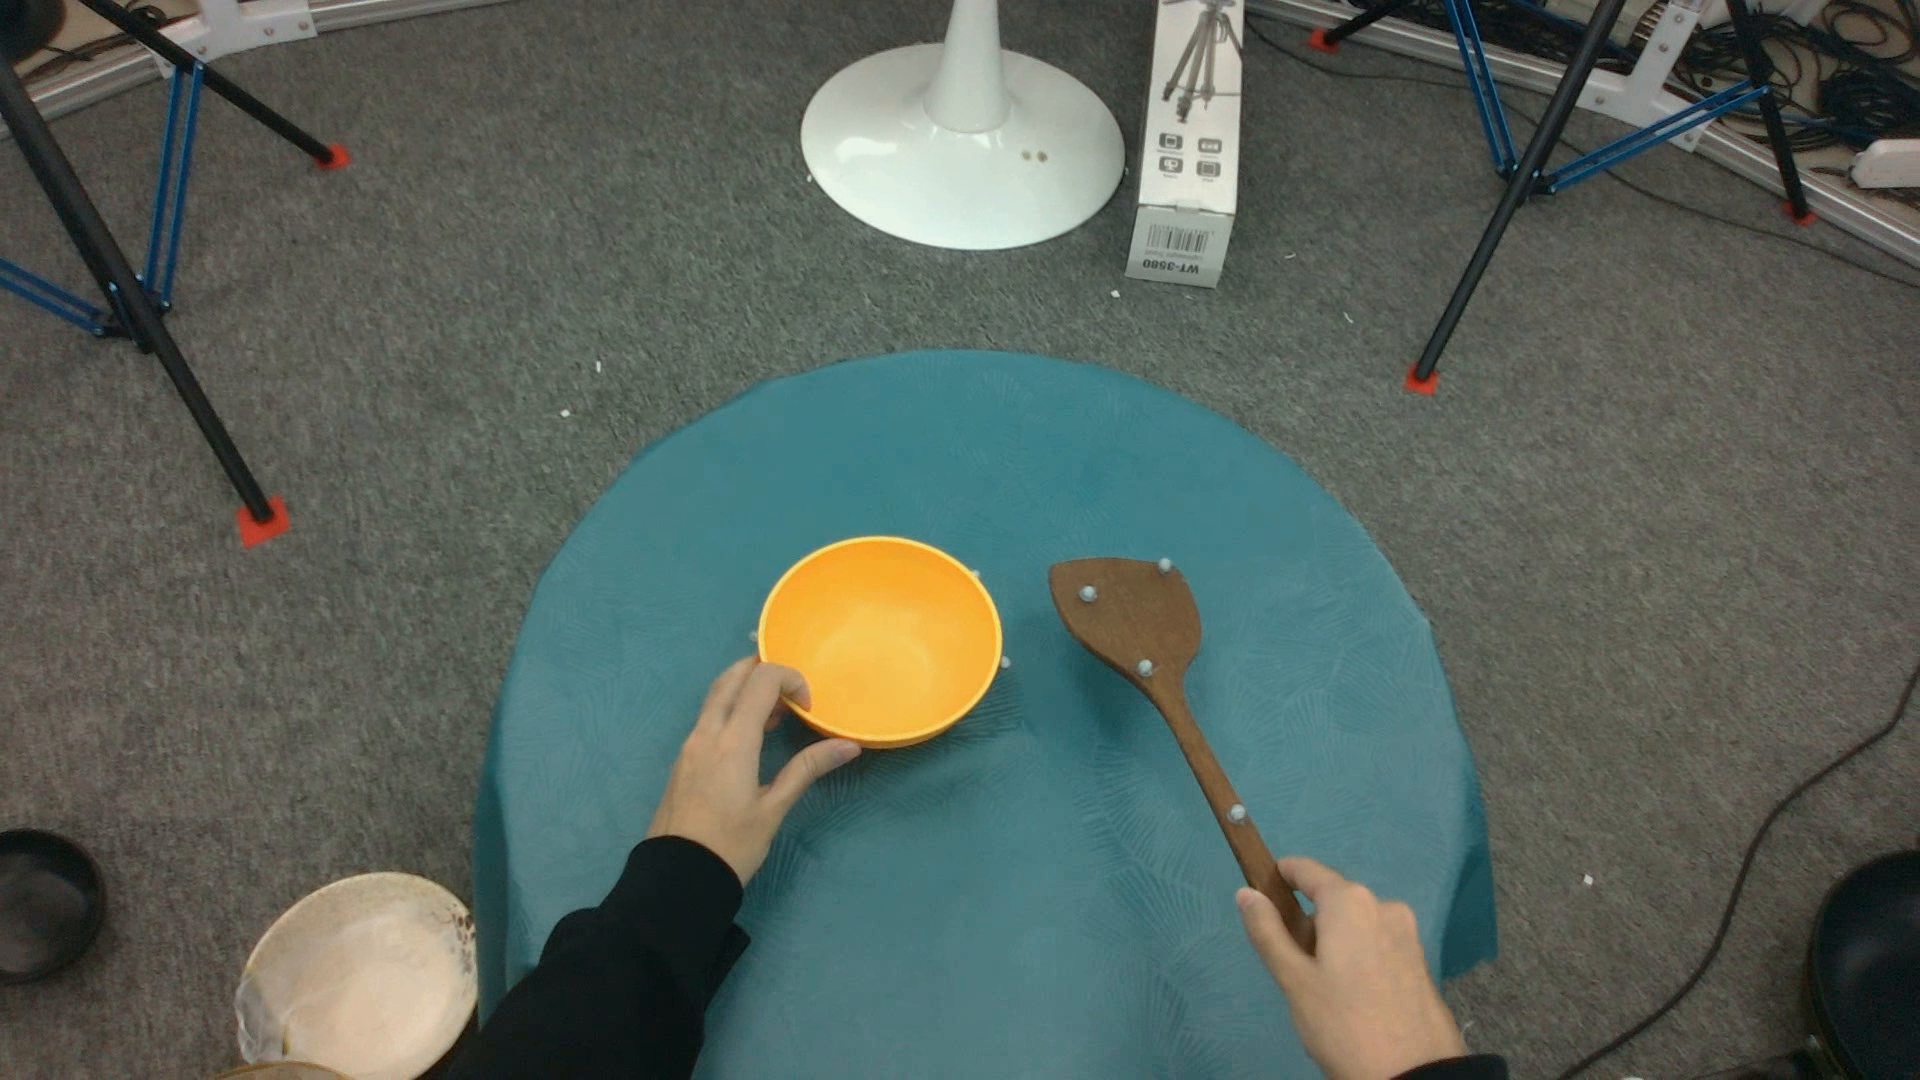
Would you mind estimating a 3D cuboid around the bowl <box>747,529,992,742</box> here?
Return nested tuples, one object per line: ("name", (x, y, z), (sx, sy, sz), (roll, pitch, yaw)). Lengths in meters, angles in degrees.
("bowl", (-0.054, 0.067, 0.837), (0.145, 0.060, 0.146), (2, 54, -2))

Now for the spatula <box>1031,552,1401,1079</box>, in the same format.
("spatula", (0.132, 0.129, 0.724), (0.096, 0.016, 0.387), (1, 38, -20))
